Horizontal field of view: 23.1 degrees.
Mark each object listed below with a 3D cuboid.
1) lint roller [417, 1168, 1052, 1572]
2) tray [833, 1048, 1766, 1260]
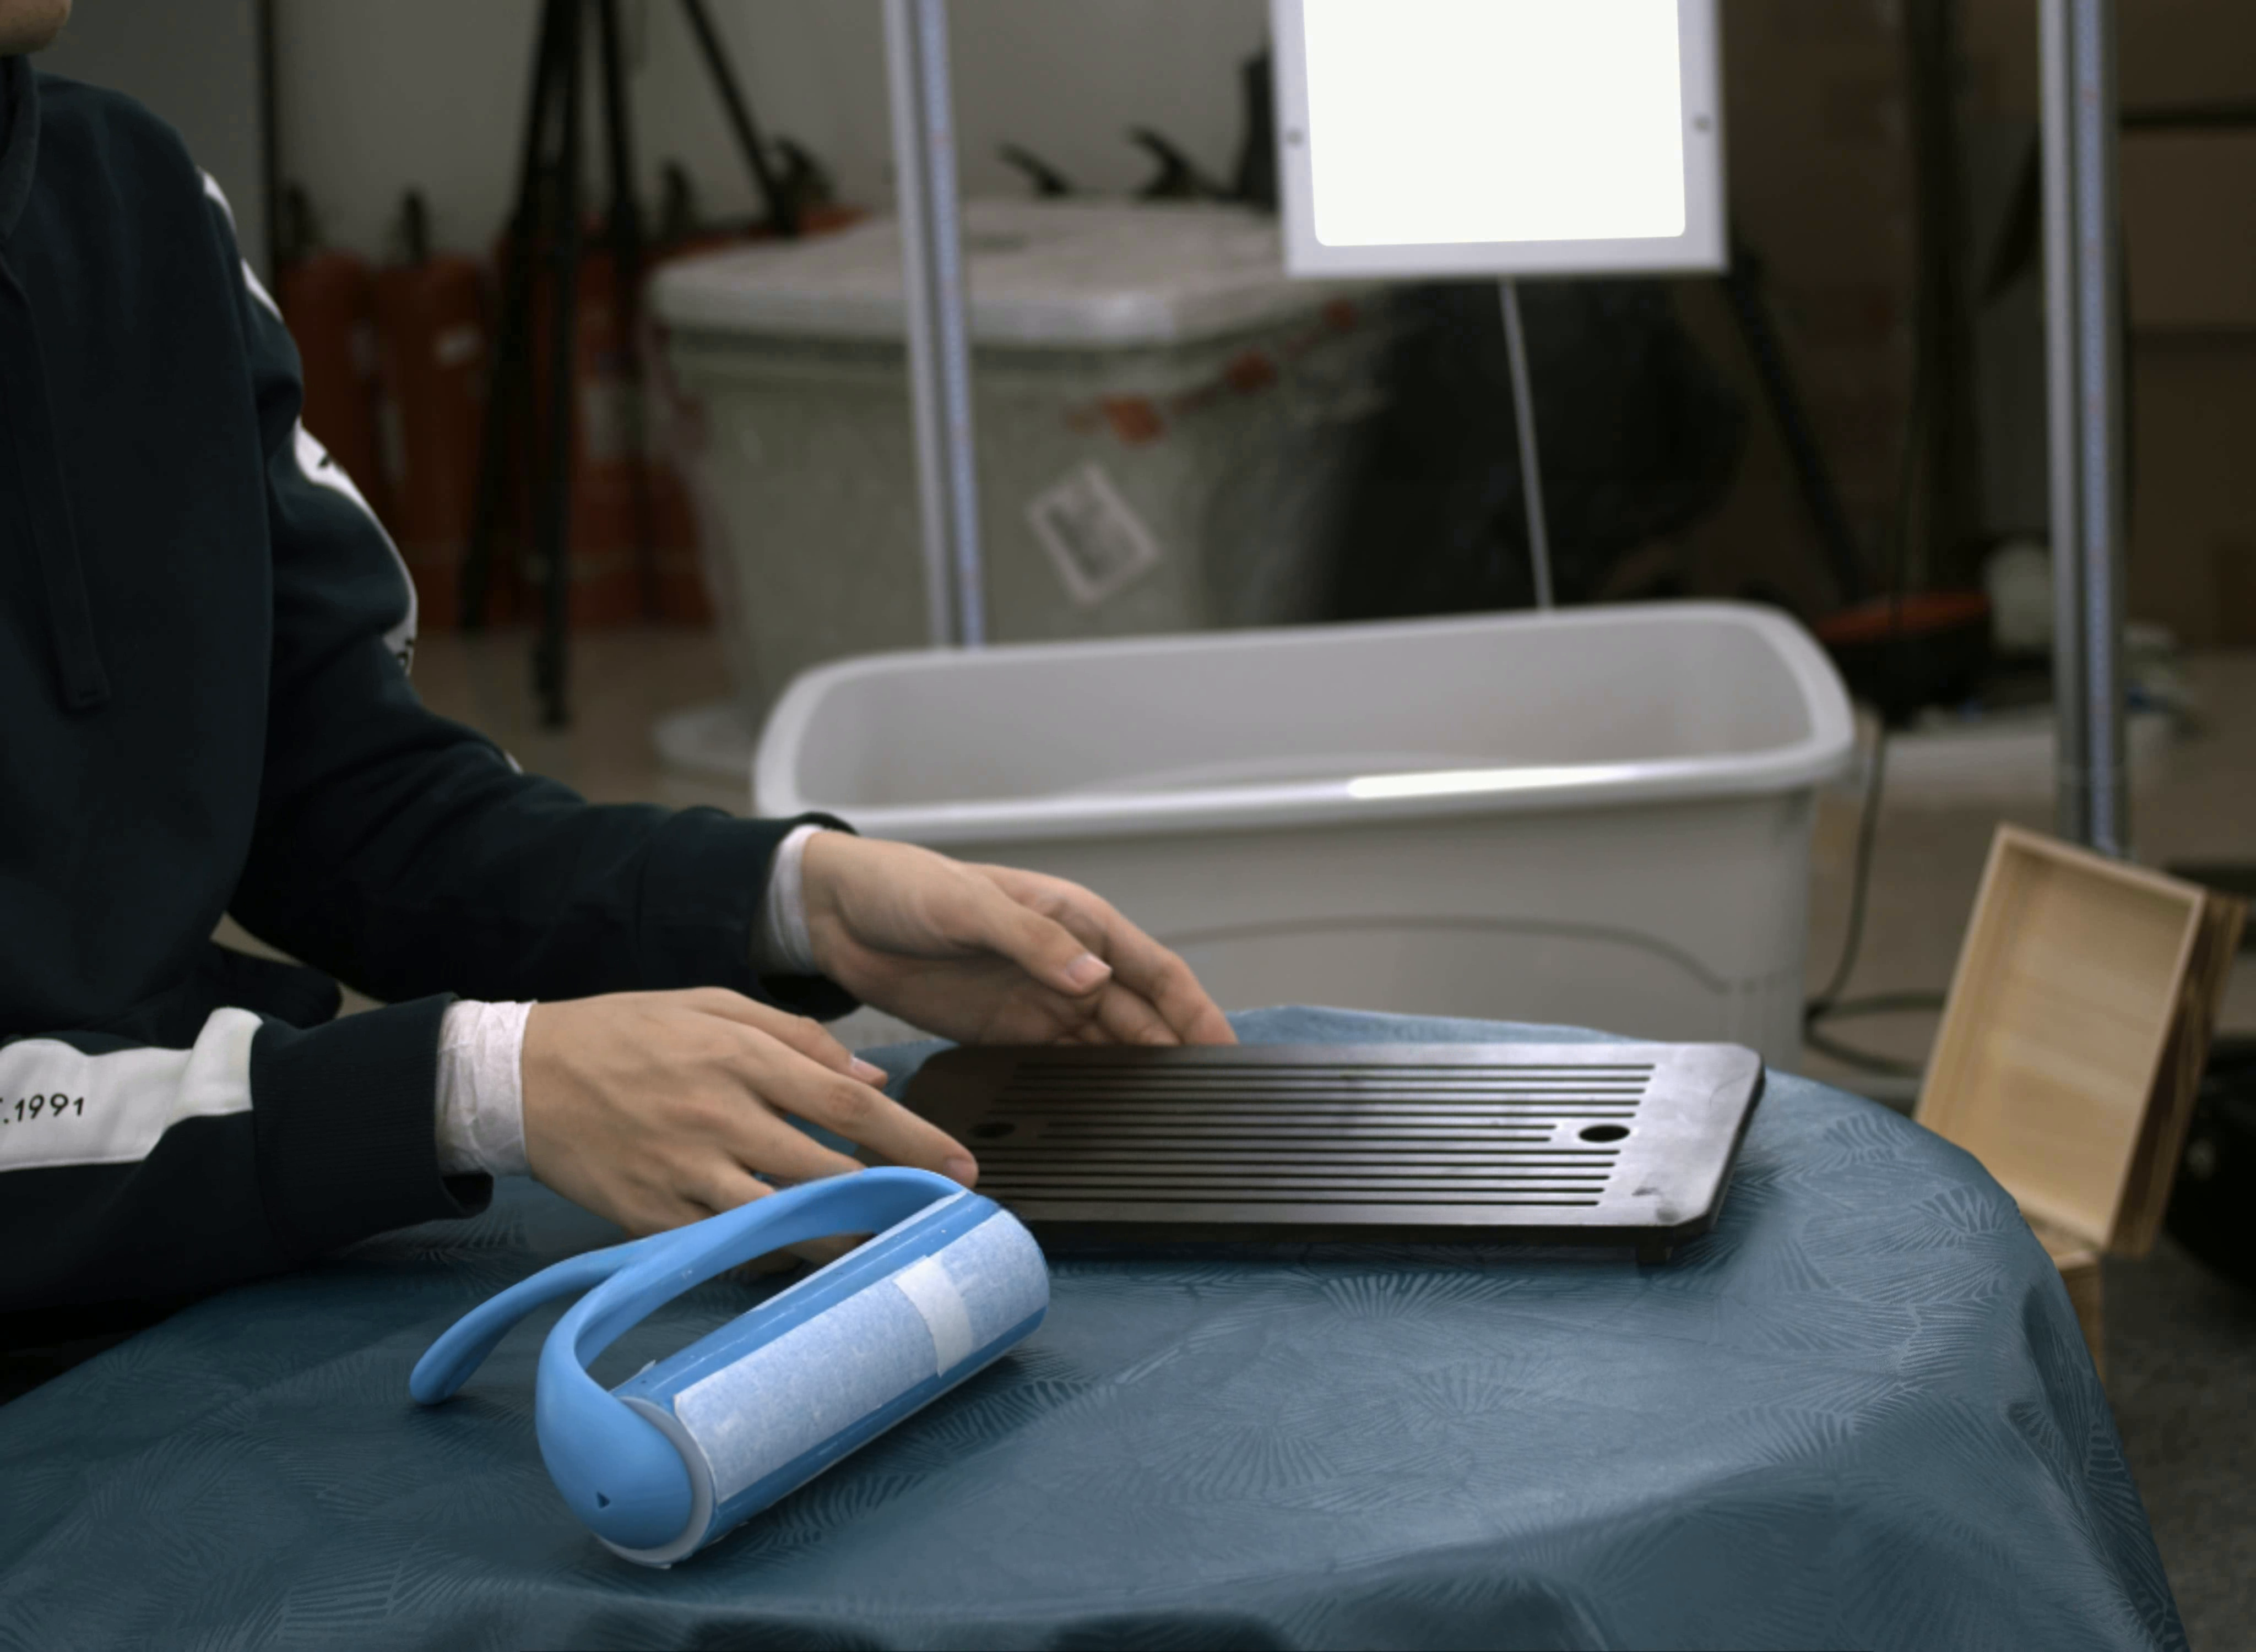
[{"bbox_3d":[-0.145,0.160,1.691,0.183,0.068,0.224,4,18,28],"label":"lint roller"},{"bbox_3d":[0.059,0.111,1.881,0.309,0.019,0.168,-1,17,16],"label":"tray"}]
